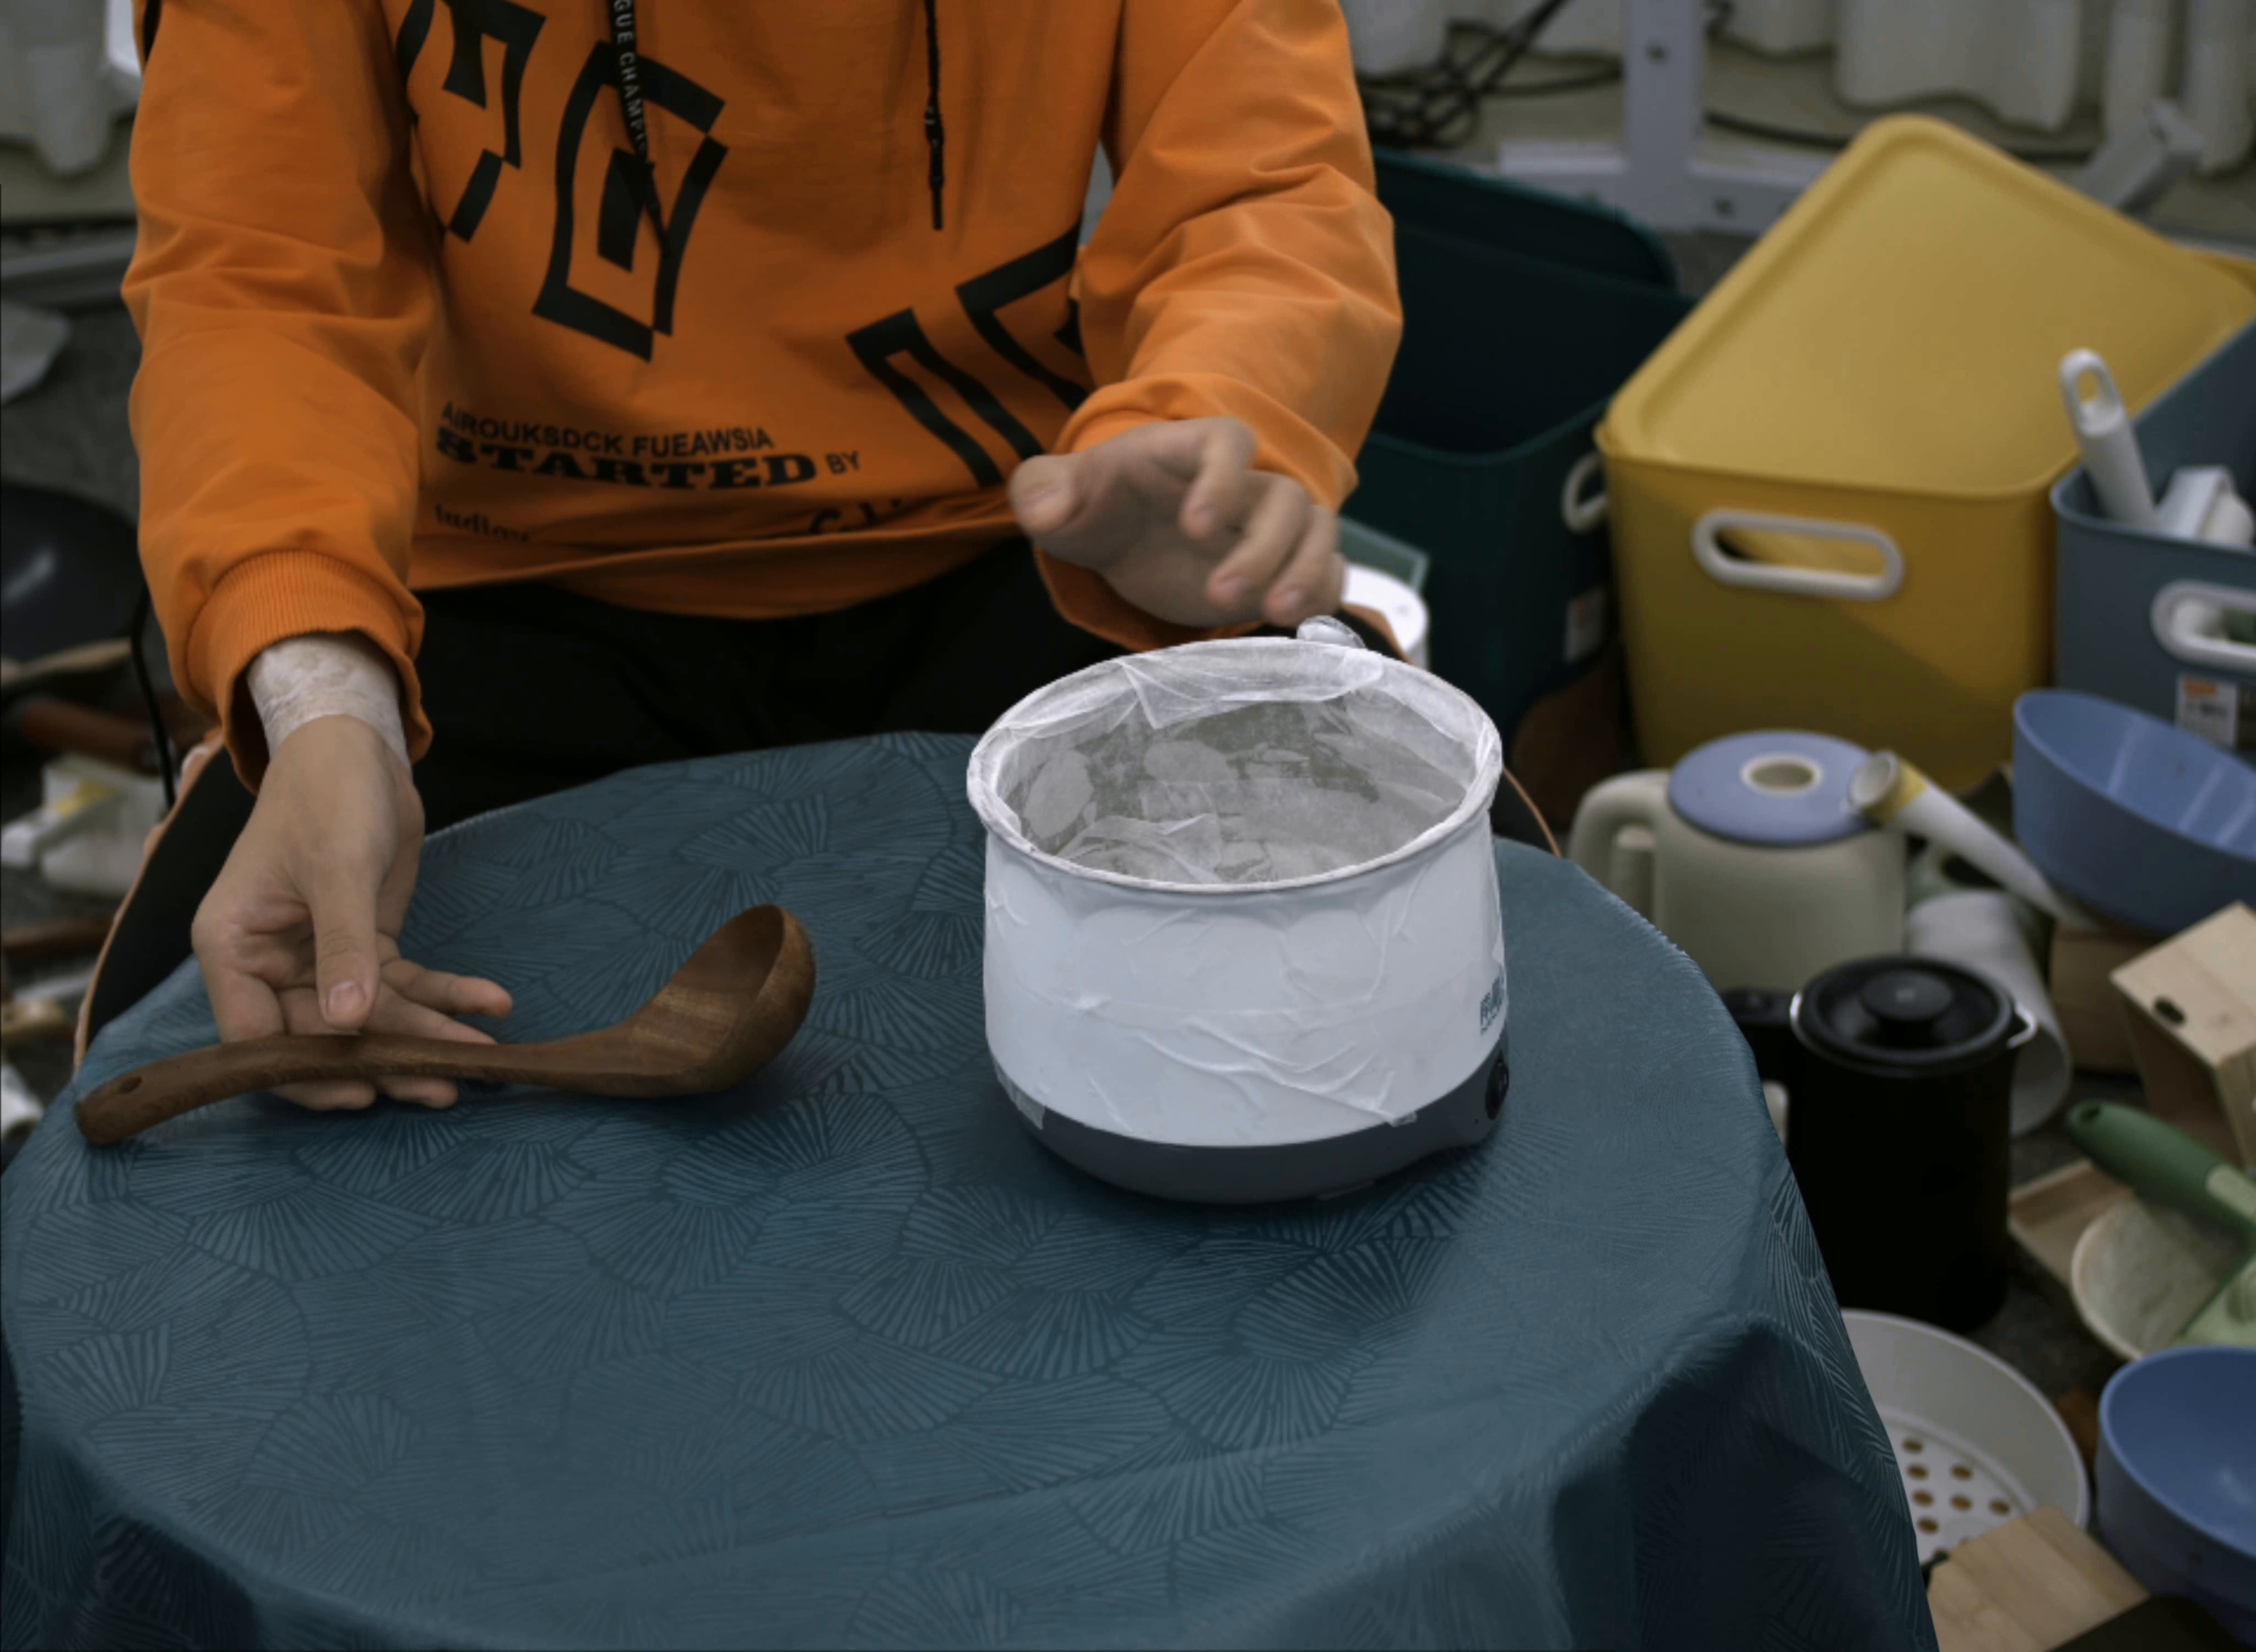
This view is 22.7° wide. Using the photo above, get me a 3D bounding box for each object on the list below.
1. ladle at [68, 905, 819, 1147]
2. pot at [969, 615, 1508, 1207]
[{"bbox_3d":[-0.234,0.070,1.917,0.259,0.064,0.077,-4,22,-3],"label":"ladle"},{"bbox_3d":[0.047,0.021,1.904,0.177,0.135,0.238,6,29,16],"label":"pot"}]
